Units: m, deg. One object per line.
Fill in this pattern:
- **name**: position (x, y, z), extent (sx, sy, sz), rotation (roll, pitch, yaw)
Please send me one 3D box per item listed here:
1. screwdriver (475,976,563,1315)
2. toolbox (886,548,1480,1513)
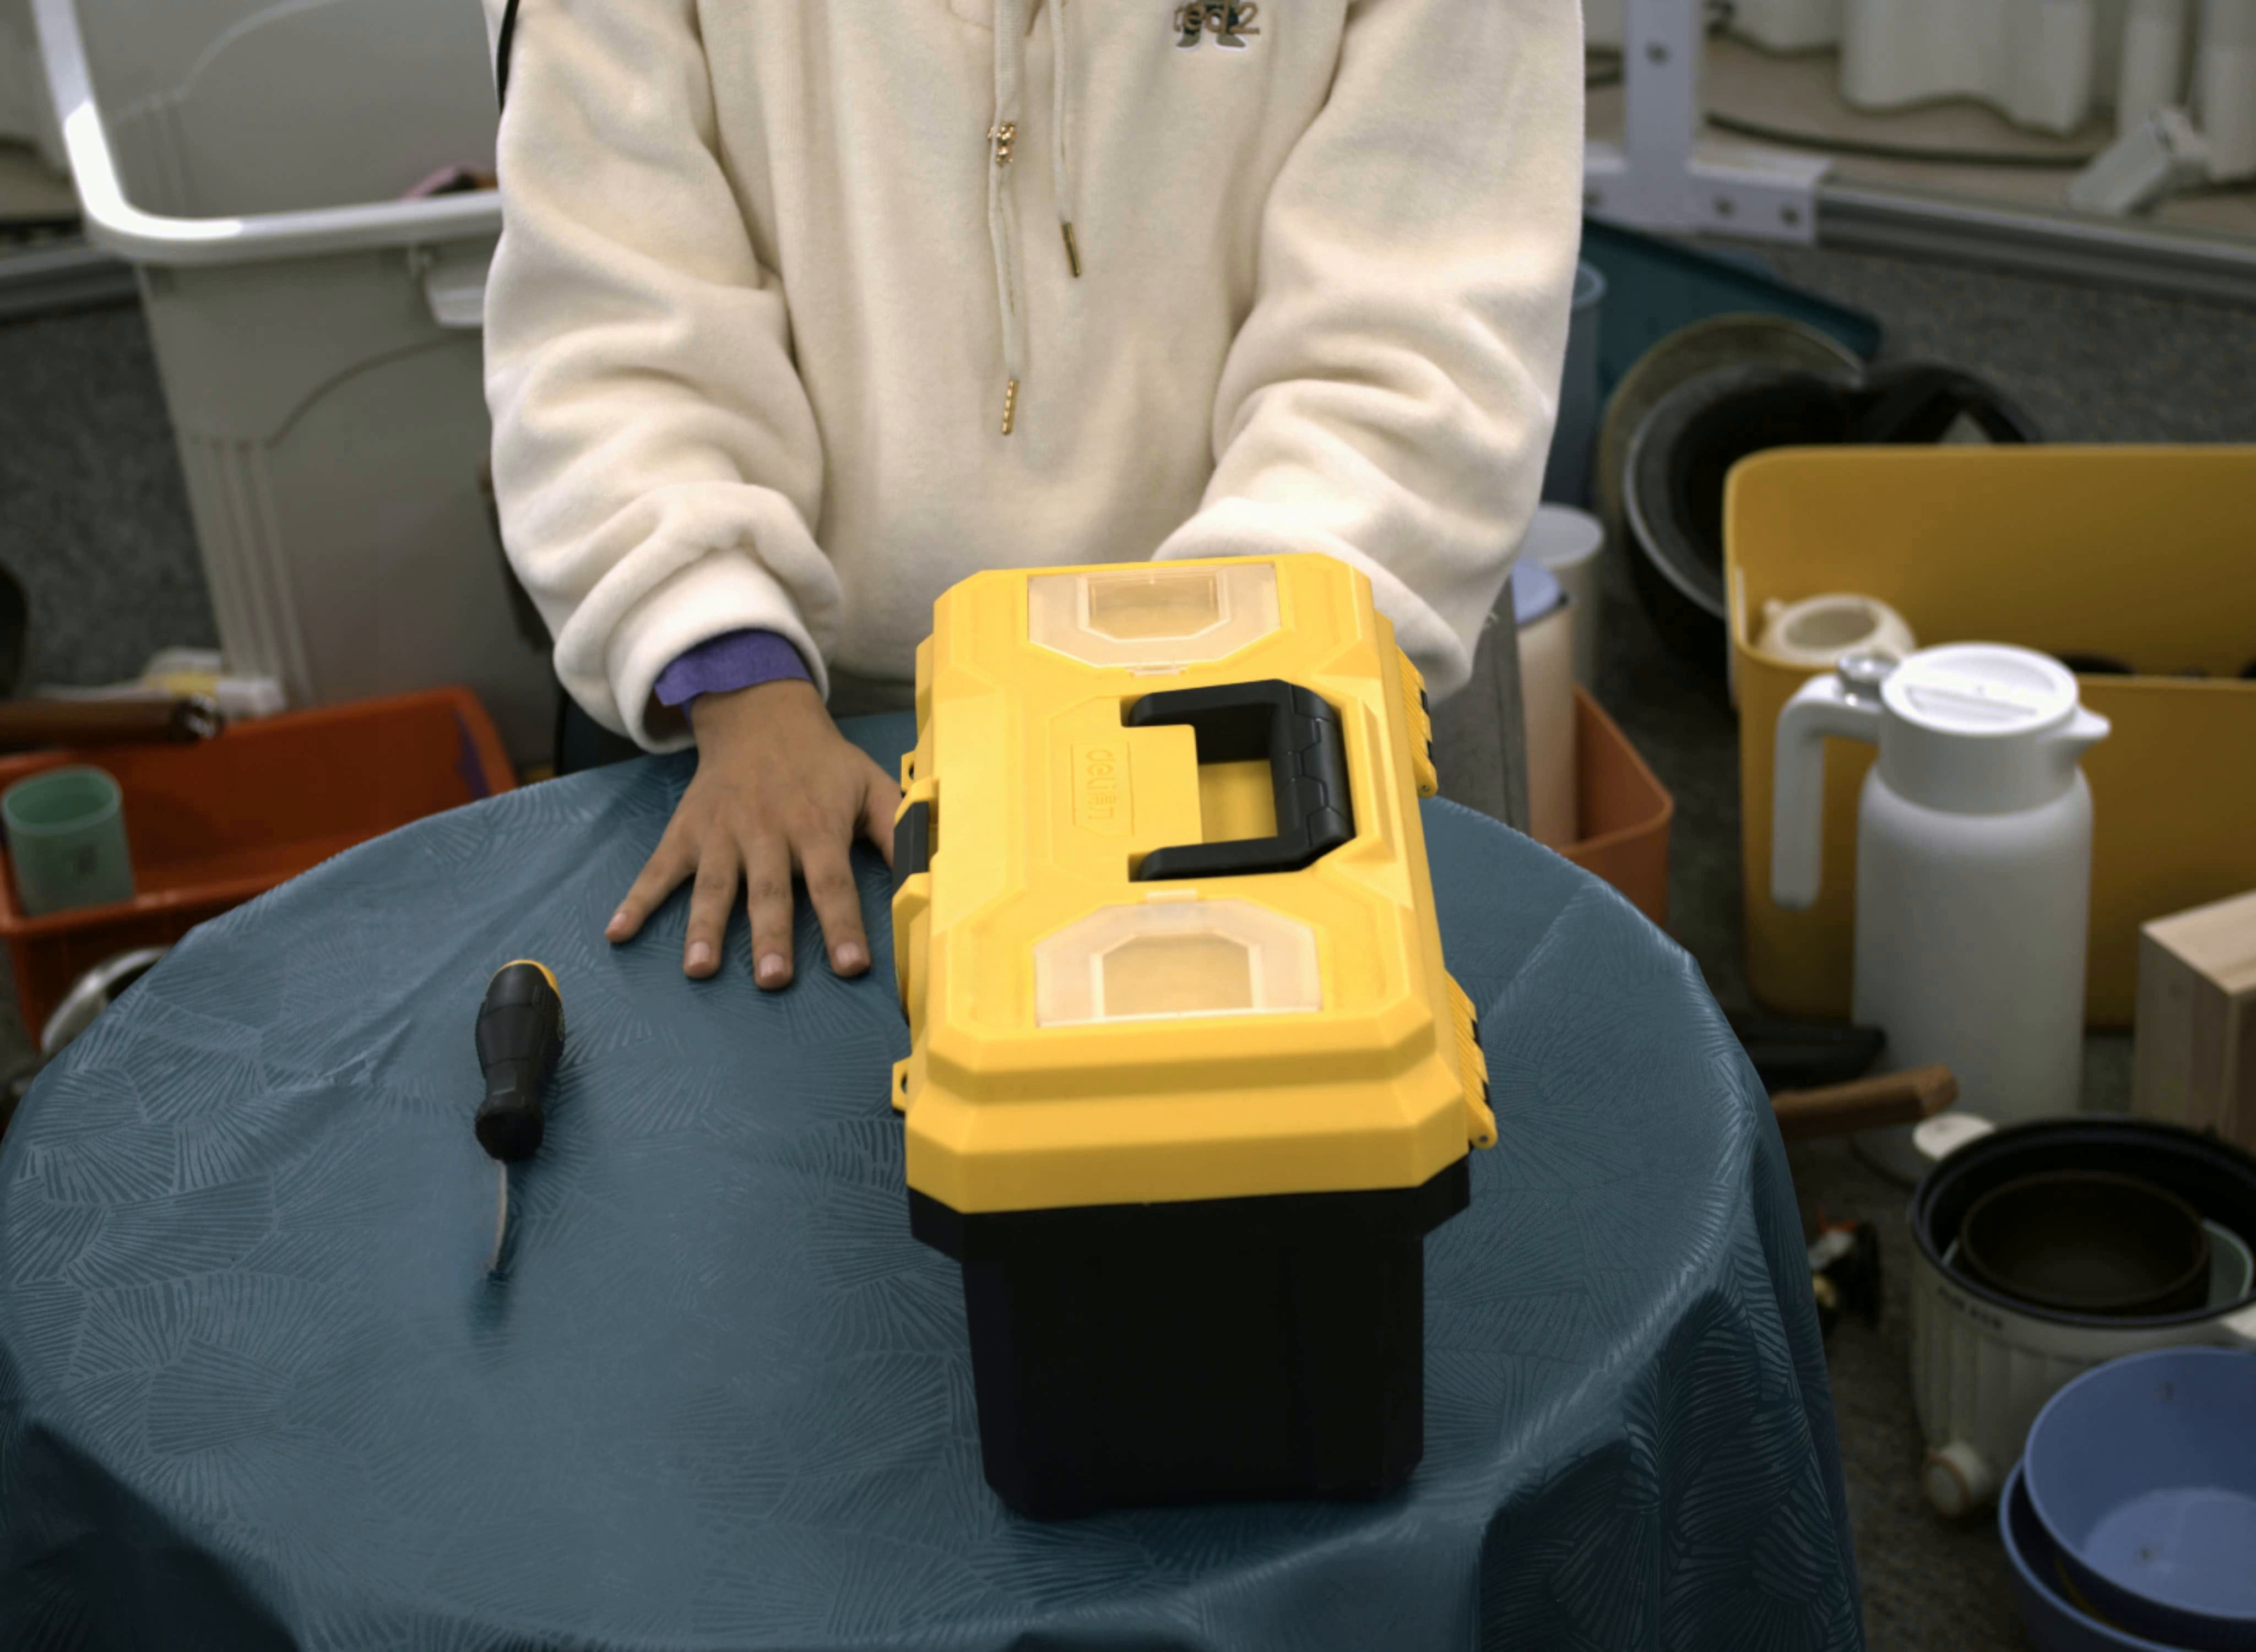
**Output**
- **screwdriver**: position (-0.210, 0.111, 1.892), extent (0.031, 0.031, 0.201), rotation (-3, 32, 0)
- **toolbox**: position (0.016, 0.058, 1.796), extent (0.180, 0.171, 0.357), rotation (-3, 27, 1)
